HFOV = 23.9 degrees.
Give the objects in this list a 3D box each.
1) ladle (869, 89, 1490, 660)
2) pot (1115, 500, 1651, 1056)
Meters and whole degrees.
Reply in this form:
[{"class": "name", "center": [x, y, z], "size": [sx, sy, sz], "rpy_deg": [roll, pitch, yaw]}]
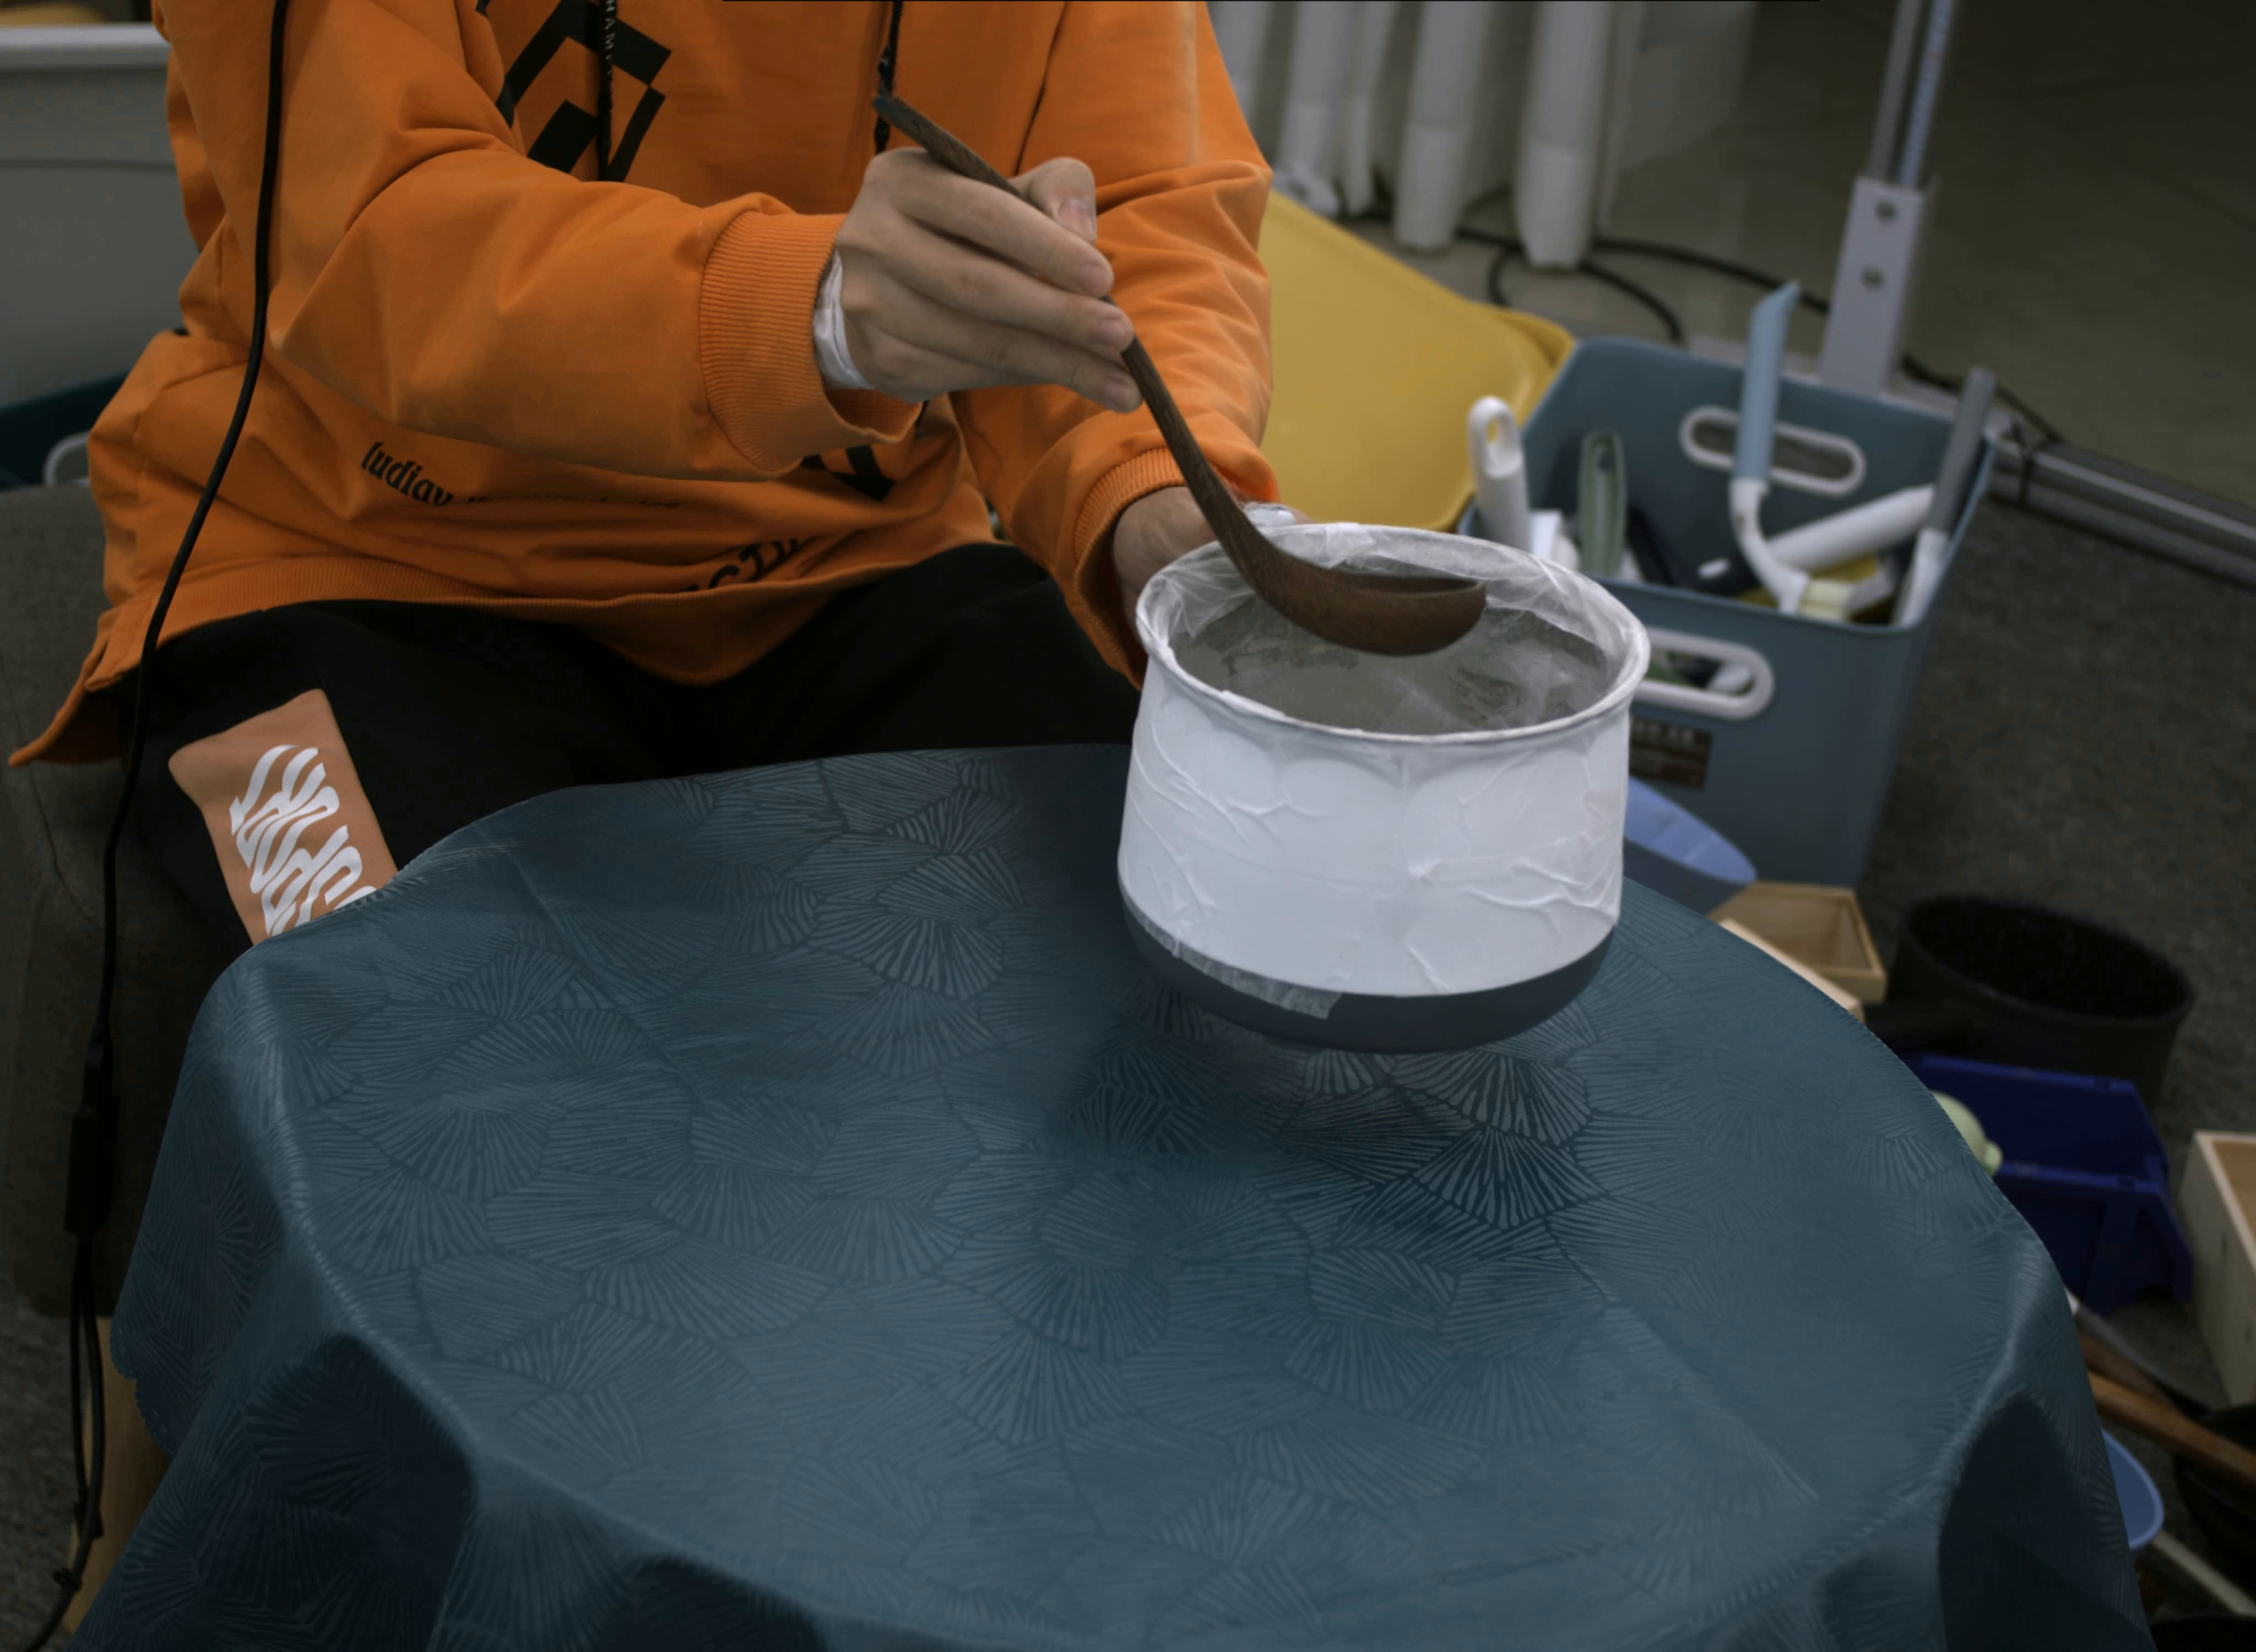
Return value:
[{"class": "ladle", "center": [0.021, -0.164, 1.843], "size": [0.071, 0.273, 0.076], "rpy_deg": [-38, 7, -3]}, {"class": "pot", "center": [0.074, -0.023, 1.868], "size": [0.177, 0.136, 0.236], "rpy_deg": [-7, 28, -24]}]
